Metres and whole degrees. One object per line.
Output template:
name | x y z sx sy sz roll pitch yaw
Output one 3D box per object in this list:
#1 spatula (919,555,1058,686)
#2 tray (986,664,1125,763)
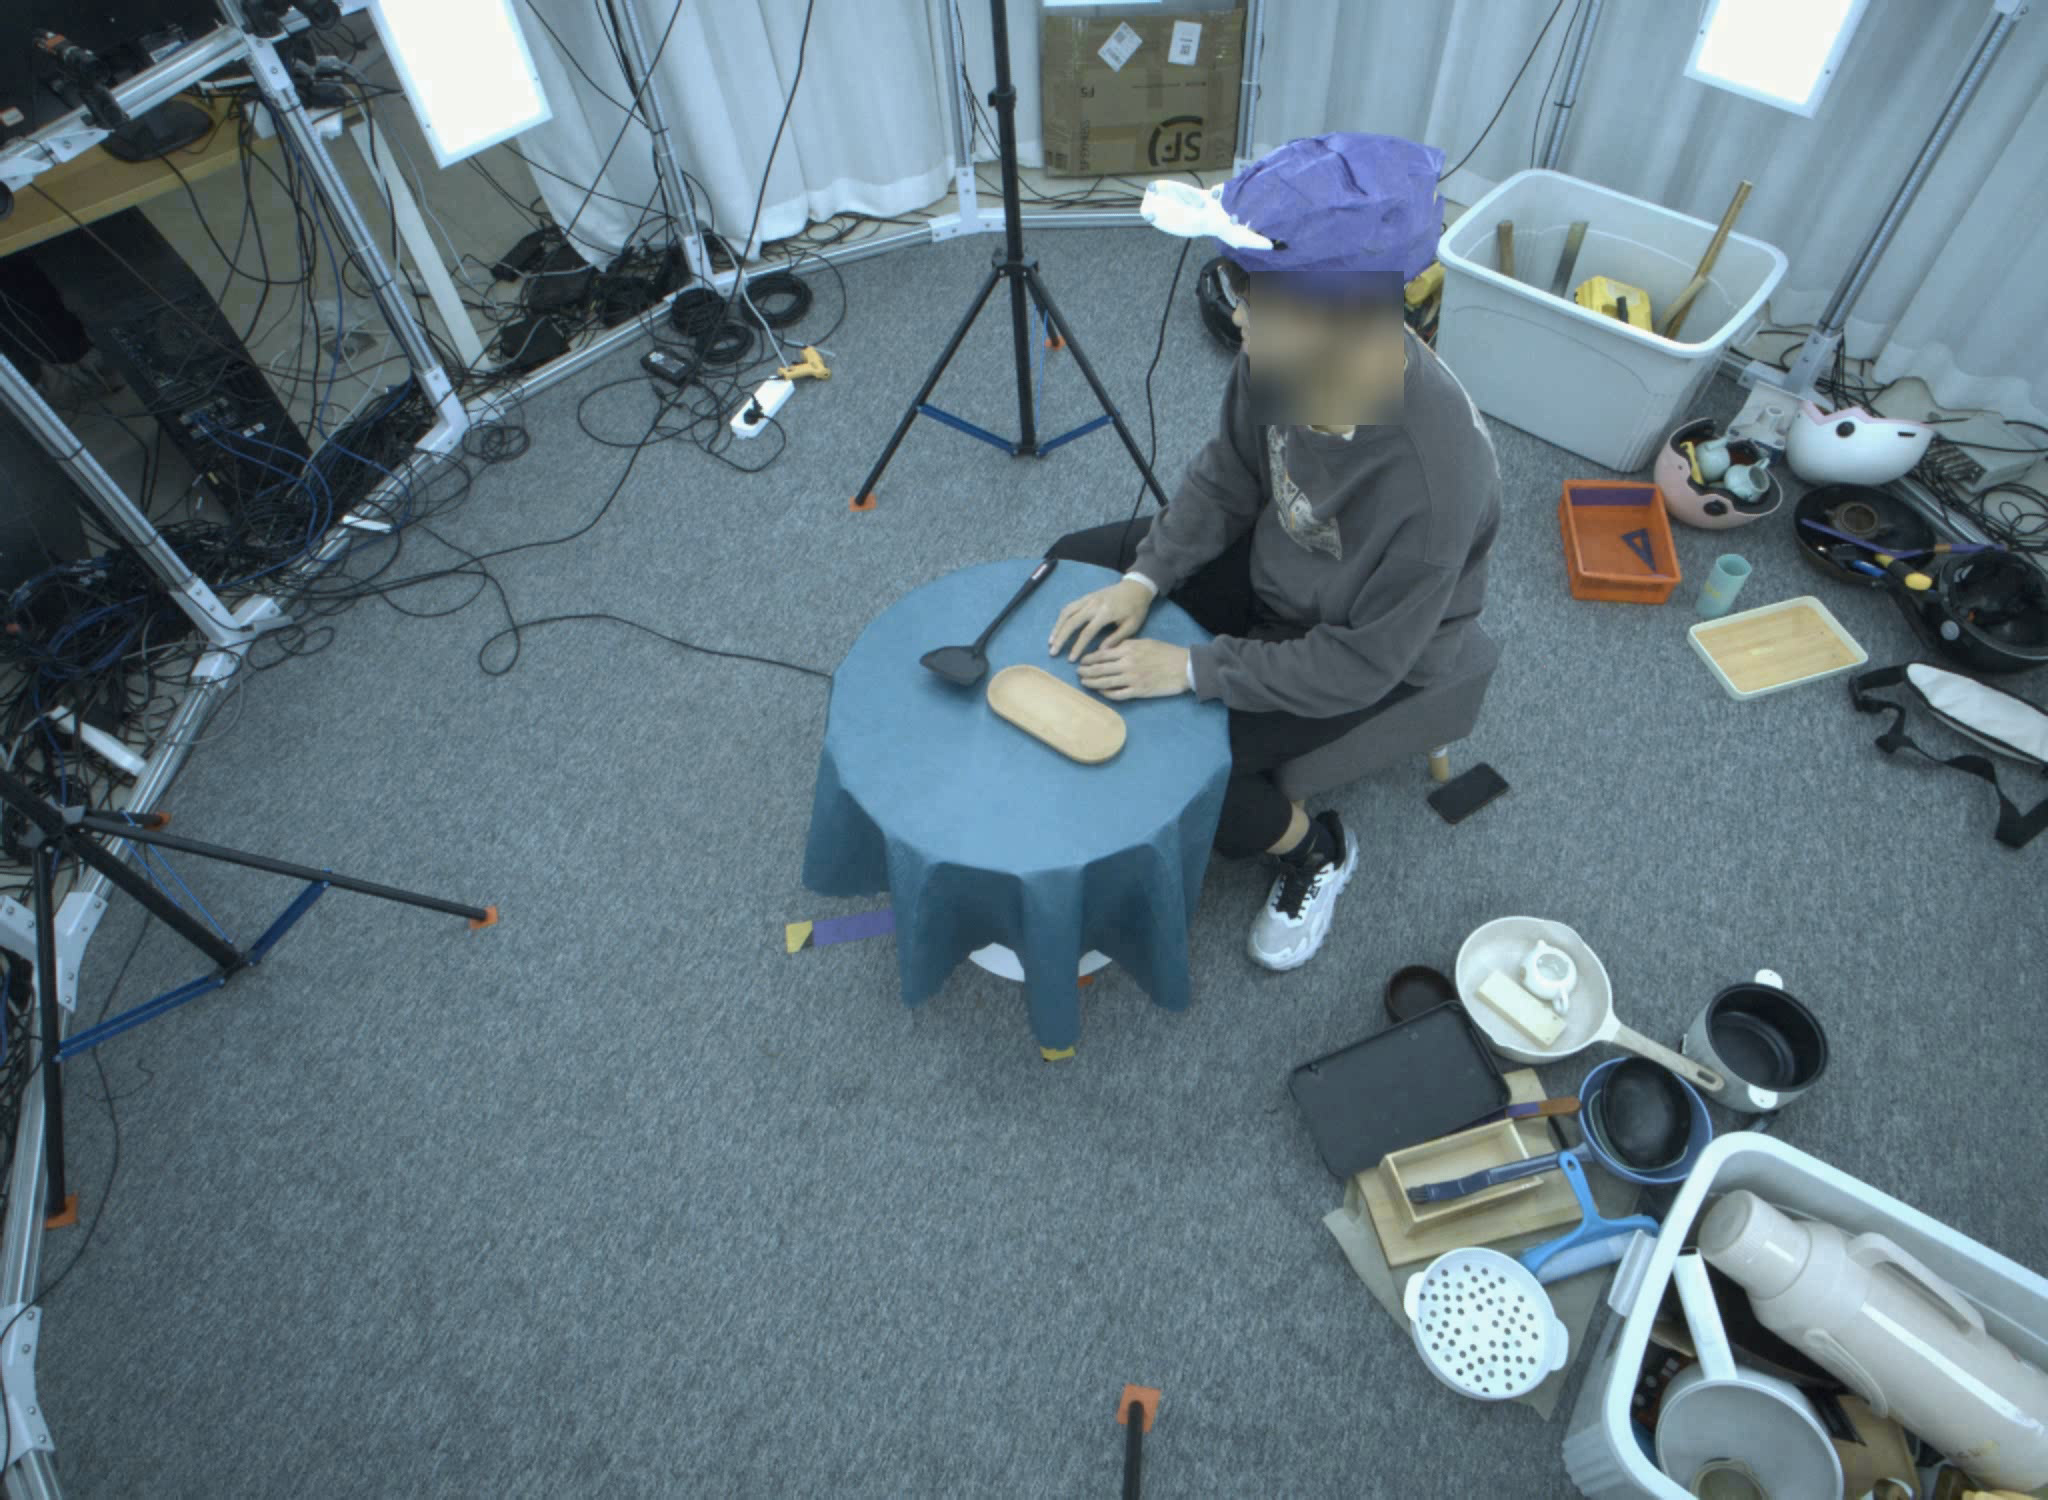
spatula | -0.036 -0.213 1.917 0.098 0.041 0.327 27 59 18
tray | 0.045 -0.055 1.813 0.227 0.020 0.102 31 60 23
